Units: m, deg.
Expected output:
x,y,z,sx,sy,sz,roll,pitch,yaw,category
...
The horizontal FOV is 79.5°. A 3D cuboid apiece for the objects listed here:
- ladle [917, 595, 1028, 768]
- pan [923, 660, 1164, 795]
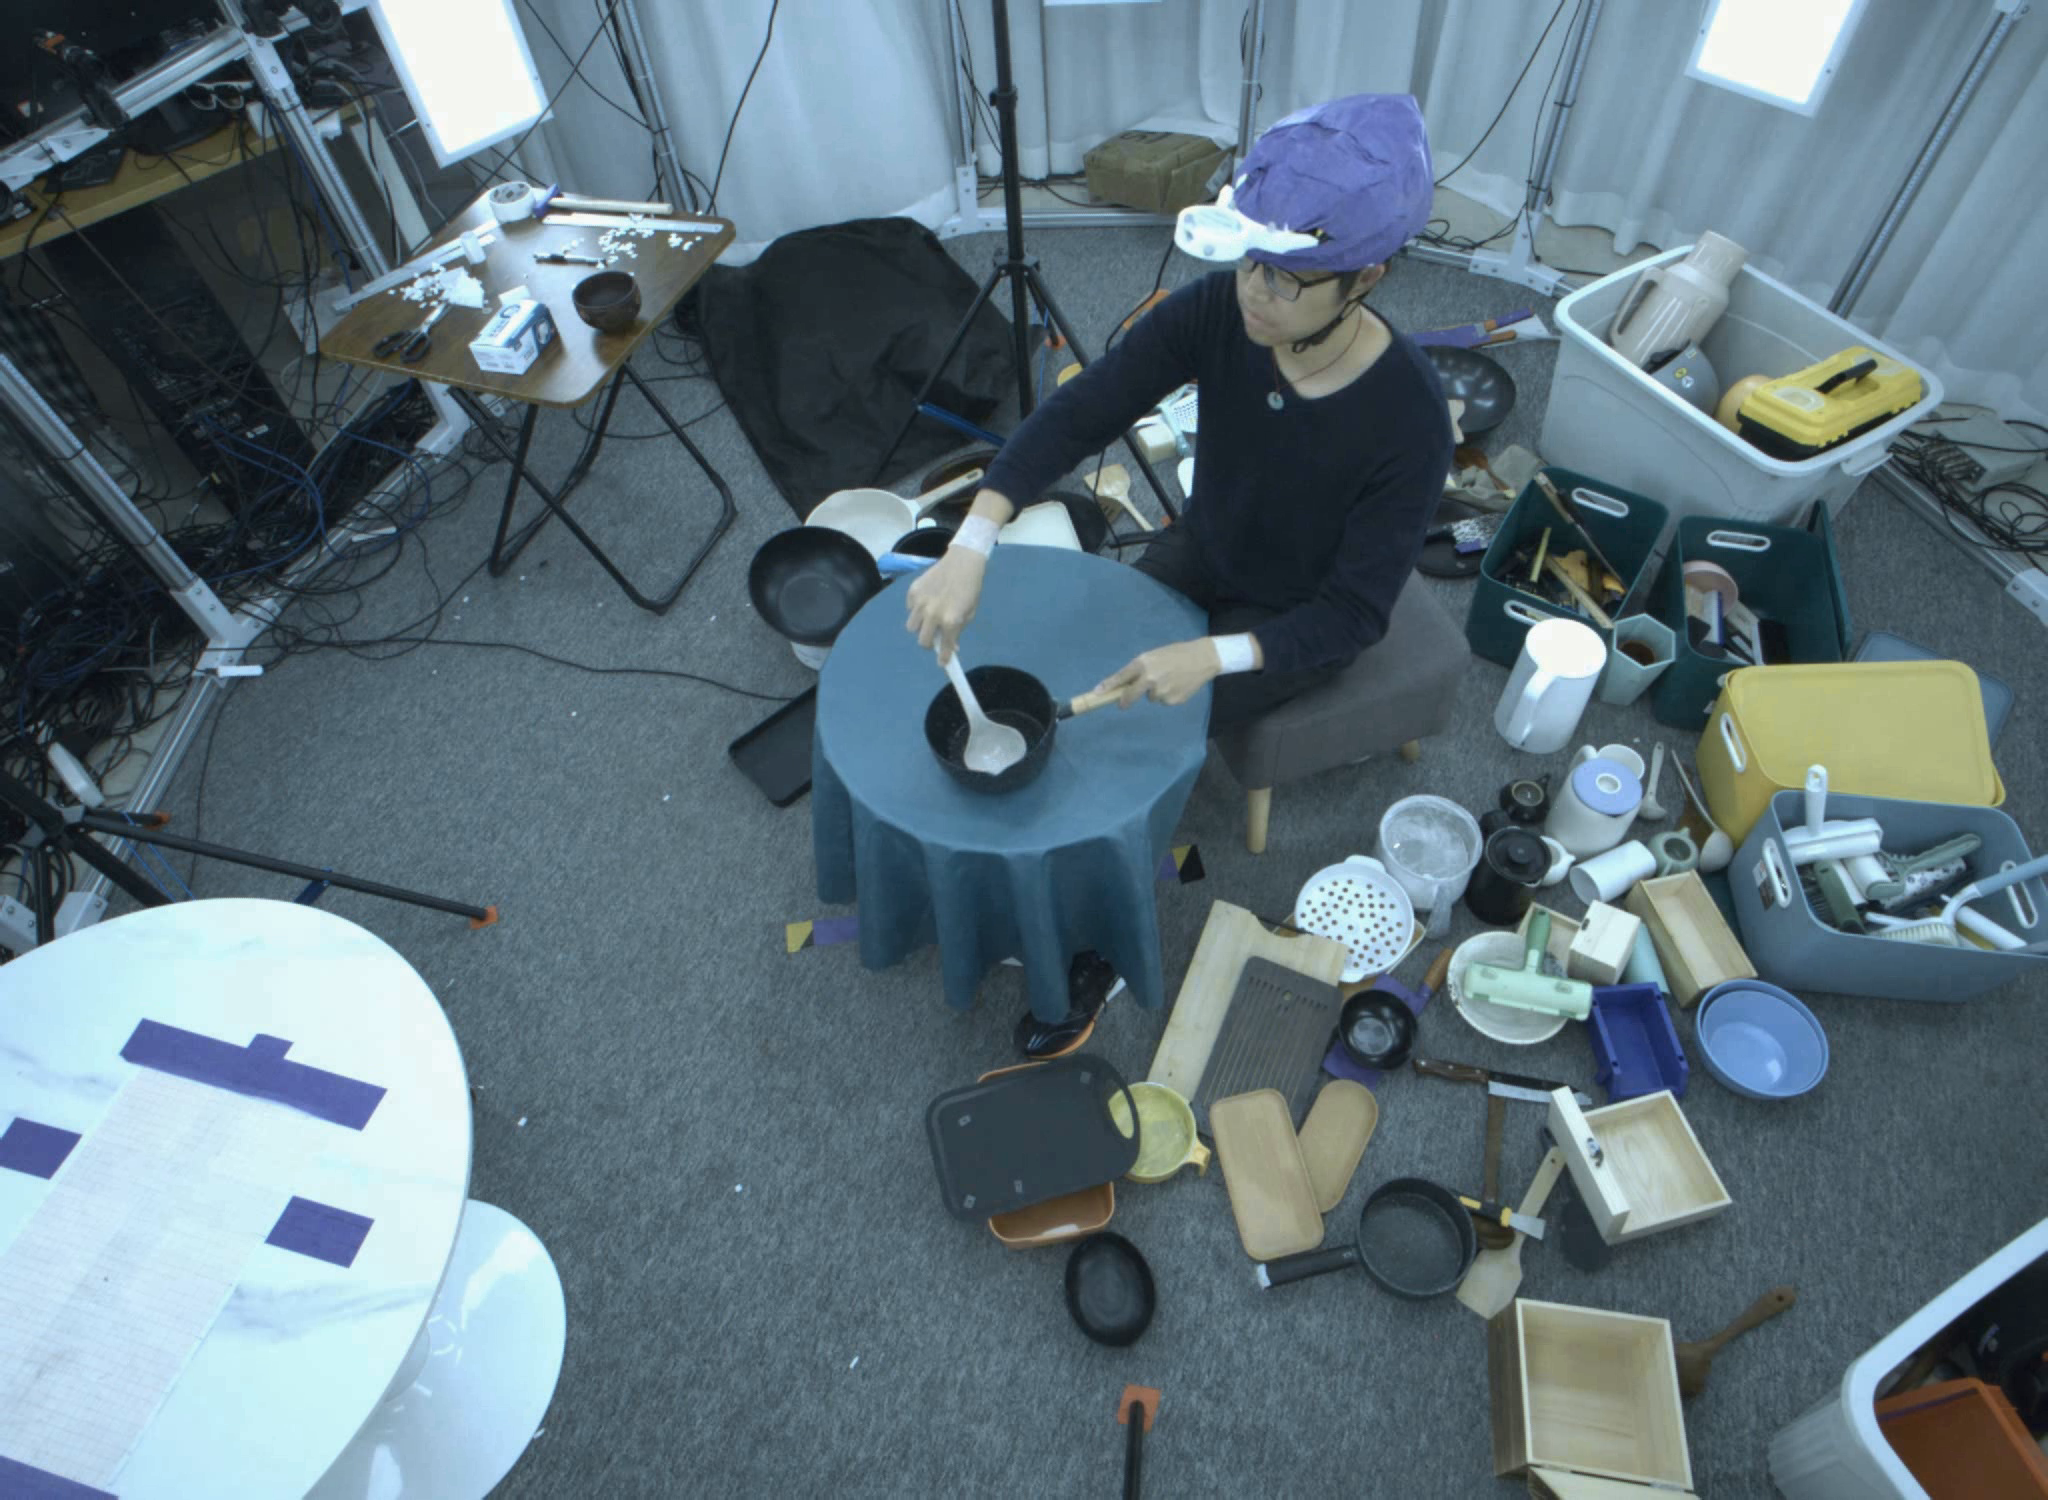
x,y,z,sx,sy,sz,roll,pitch,yaw,category
-0.078,-0.085,1.687,0.089,0.279,0.068,-28,29,-6,ladle
0.032,-0.046,1.735,0.342,0.110,0.204,-13,53,2,pan
